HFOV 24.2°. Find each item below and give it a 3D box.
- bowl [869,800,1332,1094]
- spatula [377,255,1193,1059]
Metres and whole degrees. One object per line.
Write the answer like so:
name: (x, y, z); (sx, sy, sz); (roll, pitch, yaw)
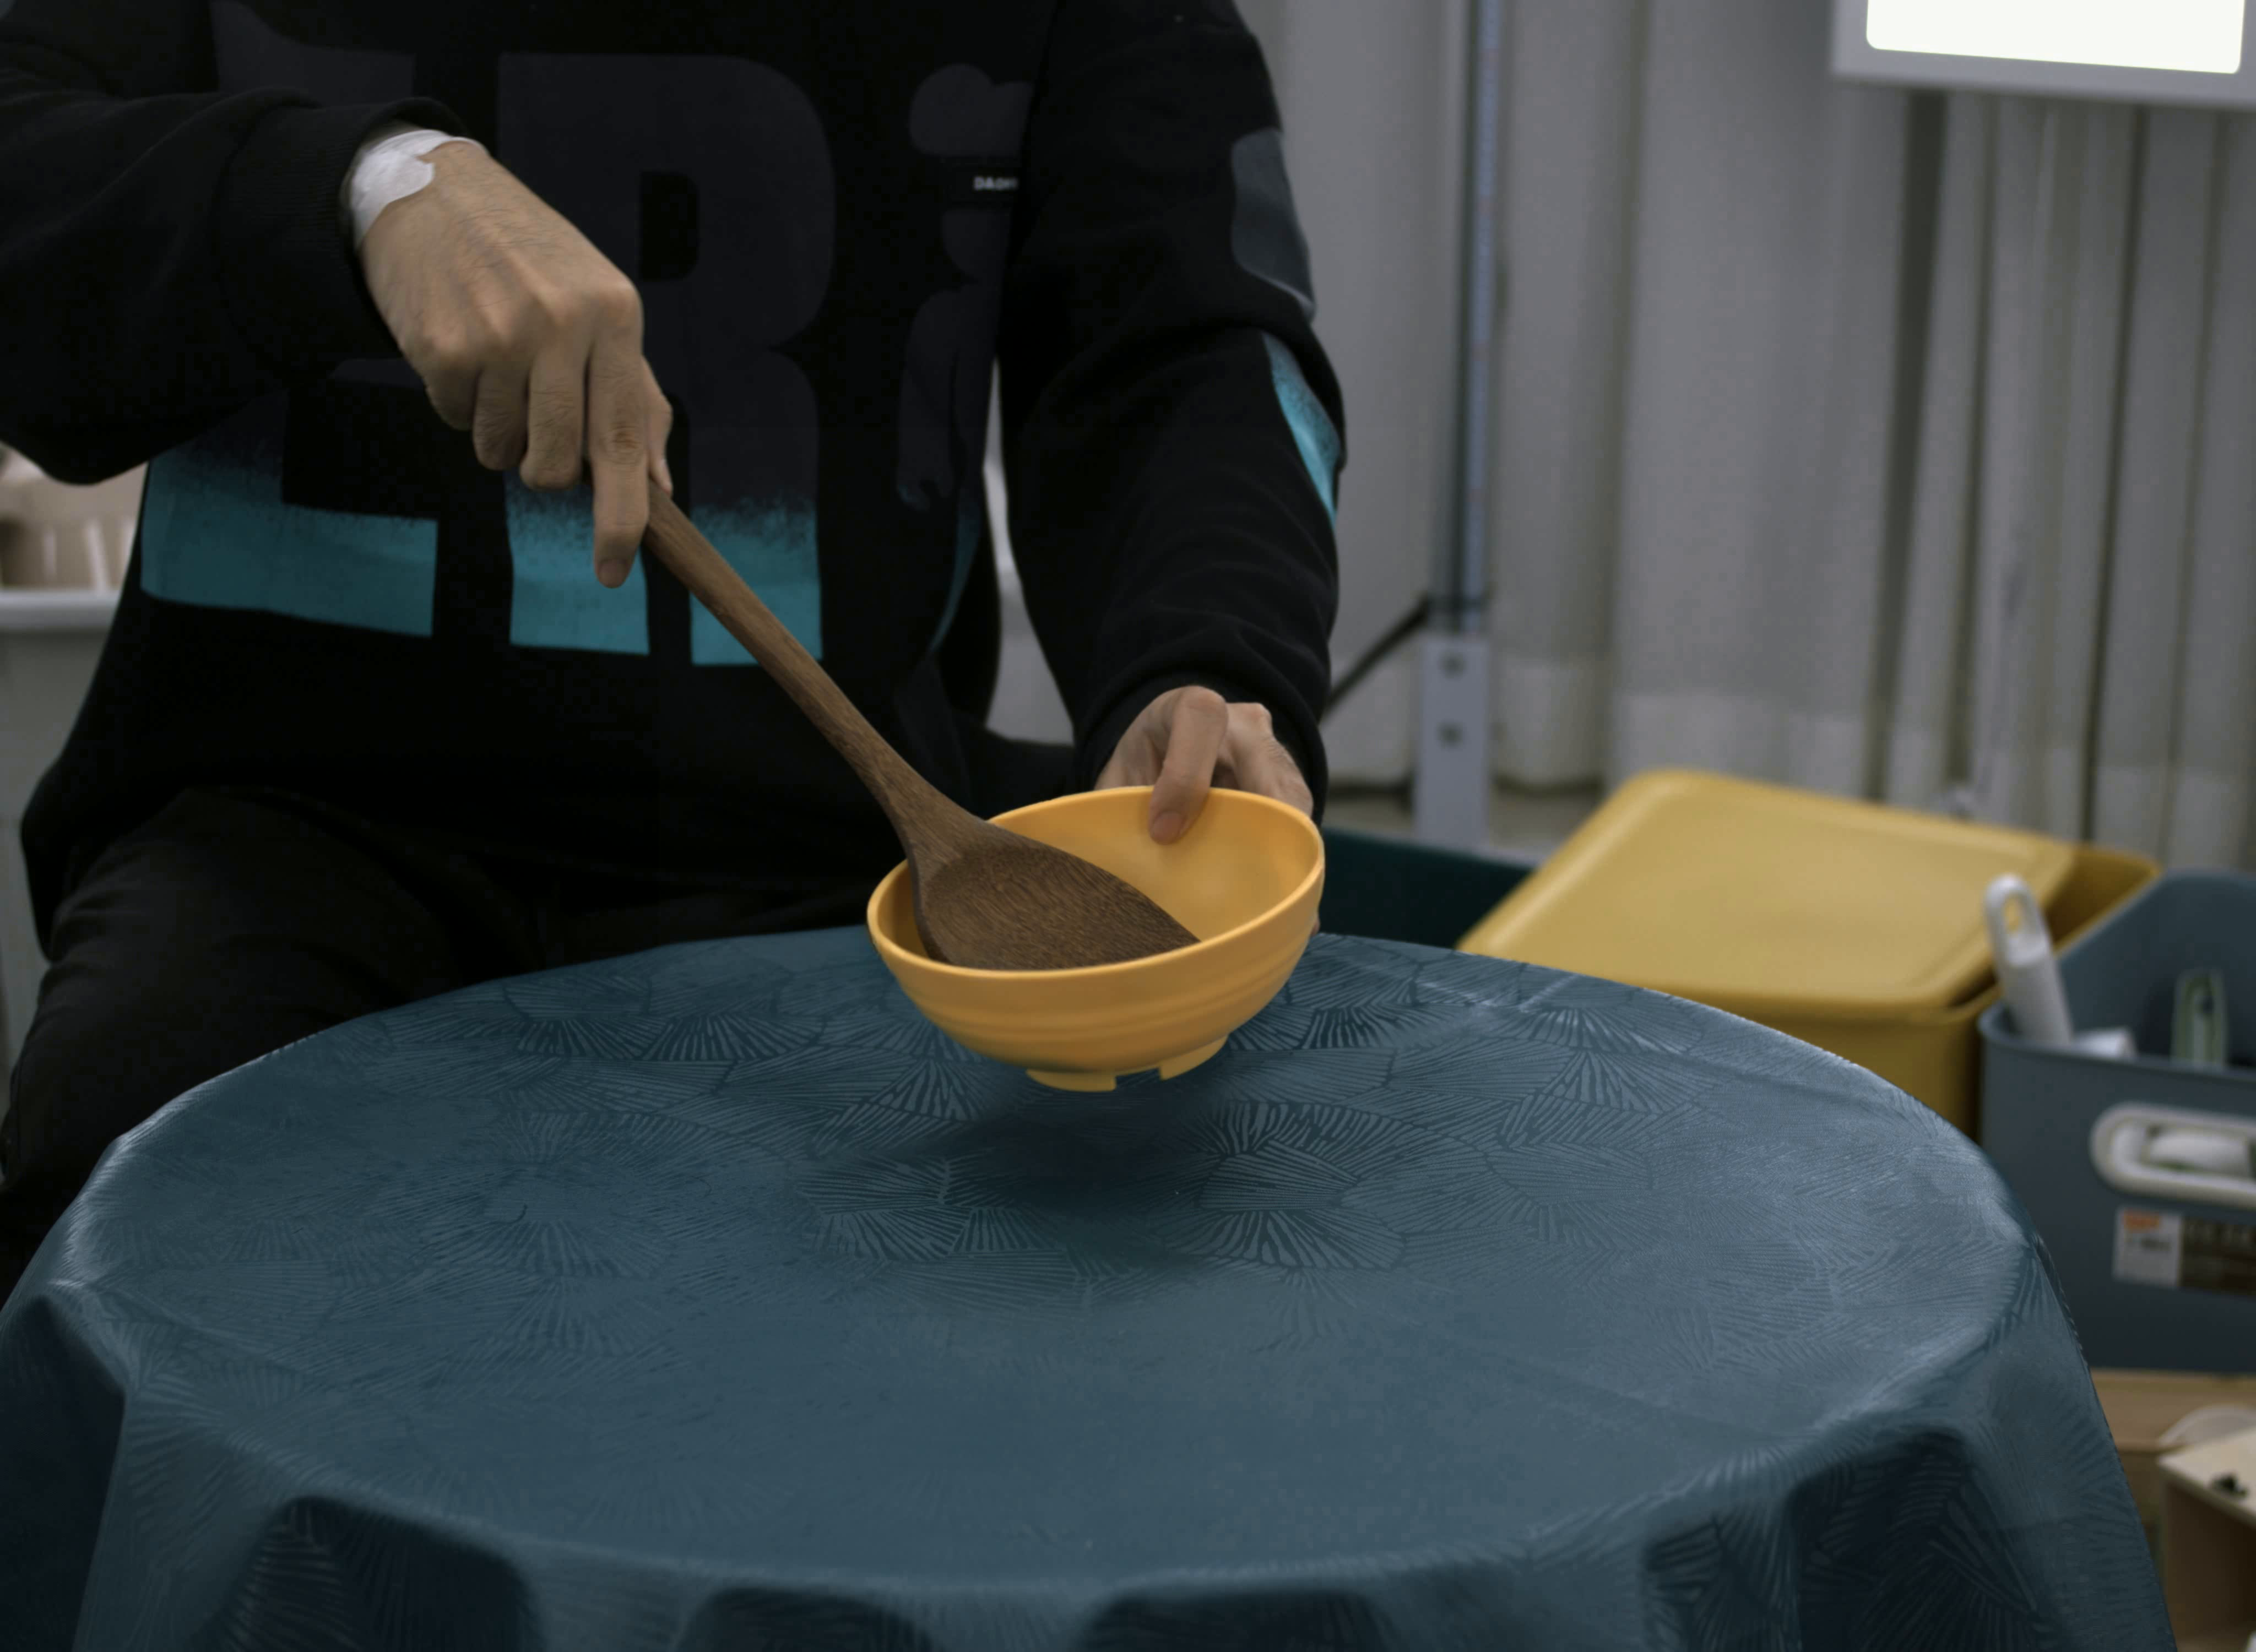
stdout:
bowl: (-0.006, 0.044, 1.642); (0.145, 0.061, 0.144); (-5, 20, 2)
spatula: (-0.118, -0.061, 1.688); (0.383, 0.016, 0.096); (46, 38, 18)
